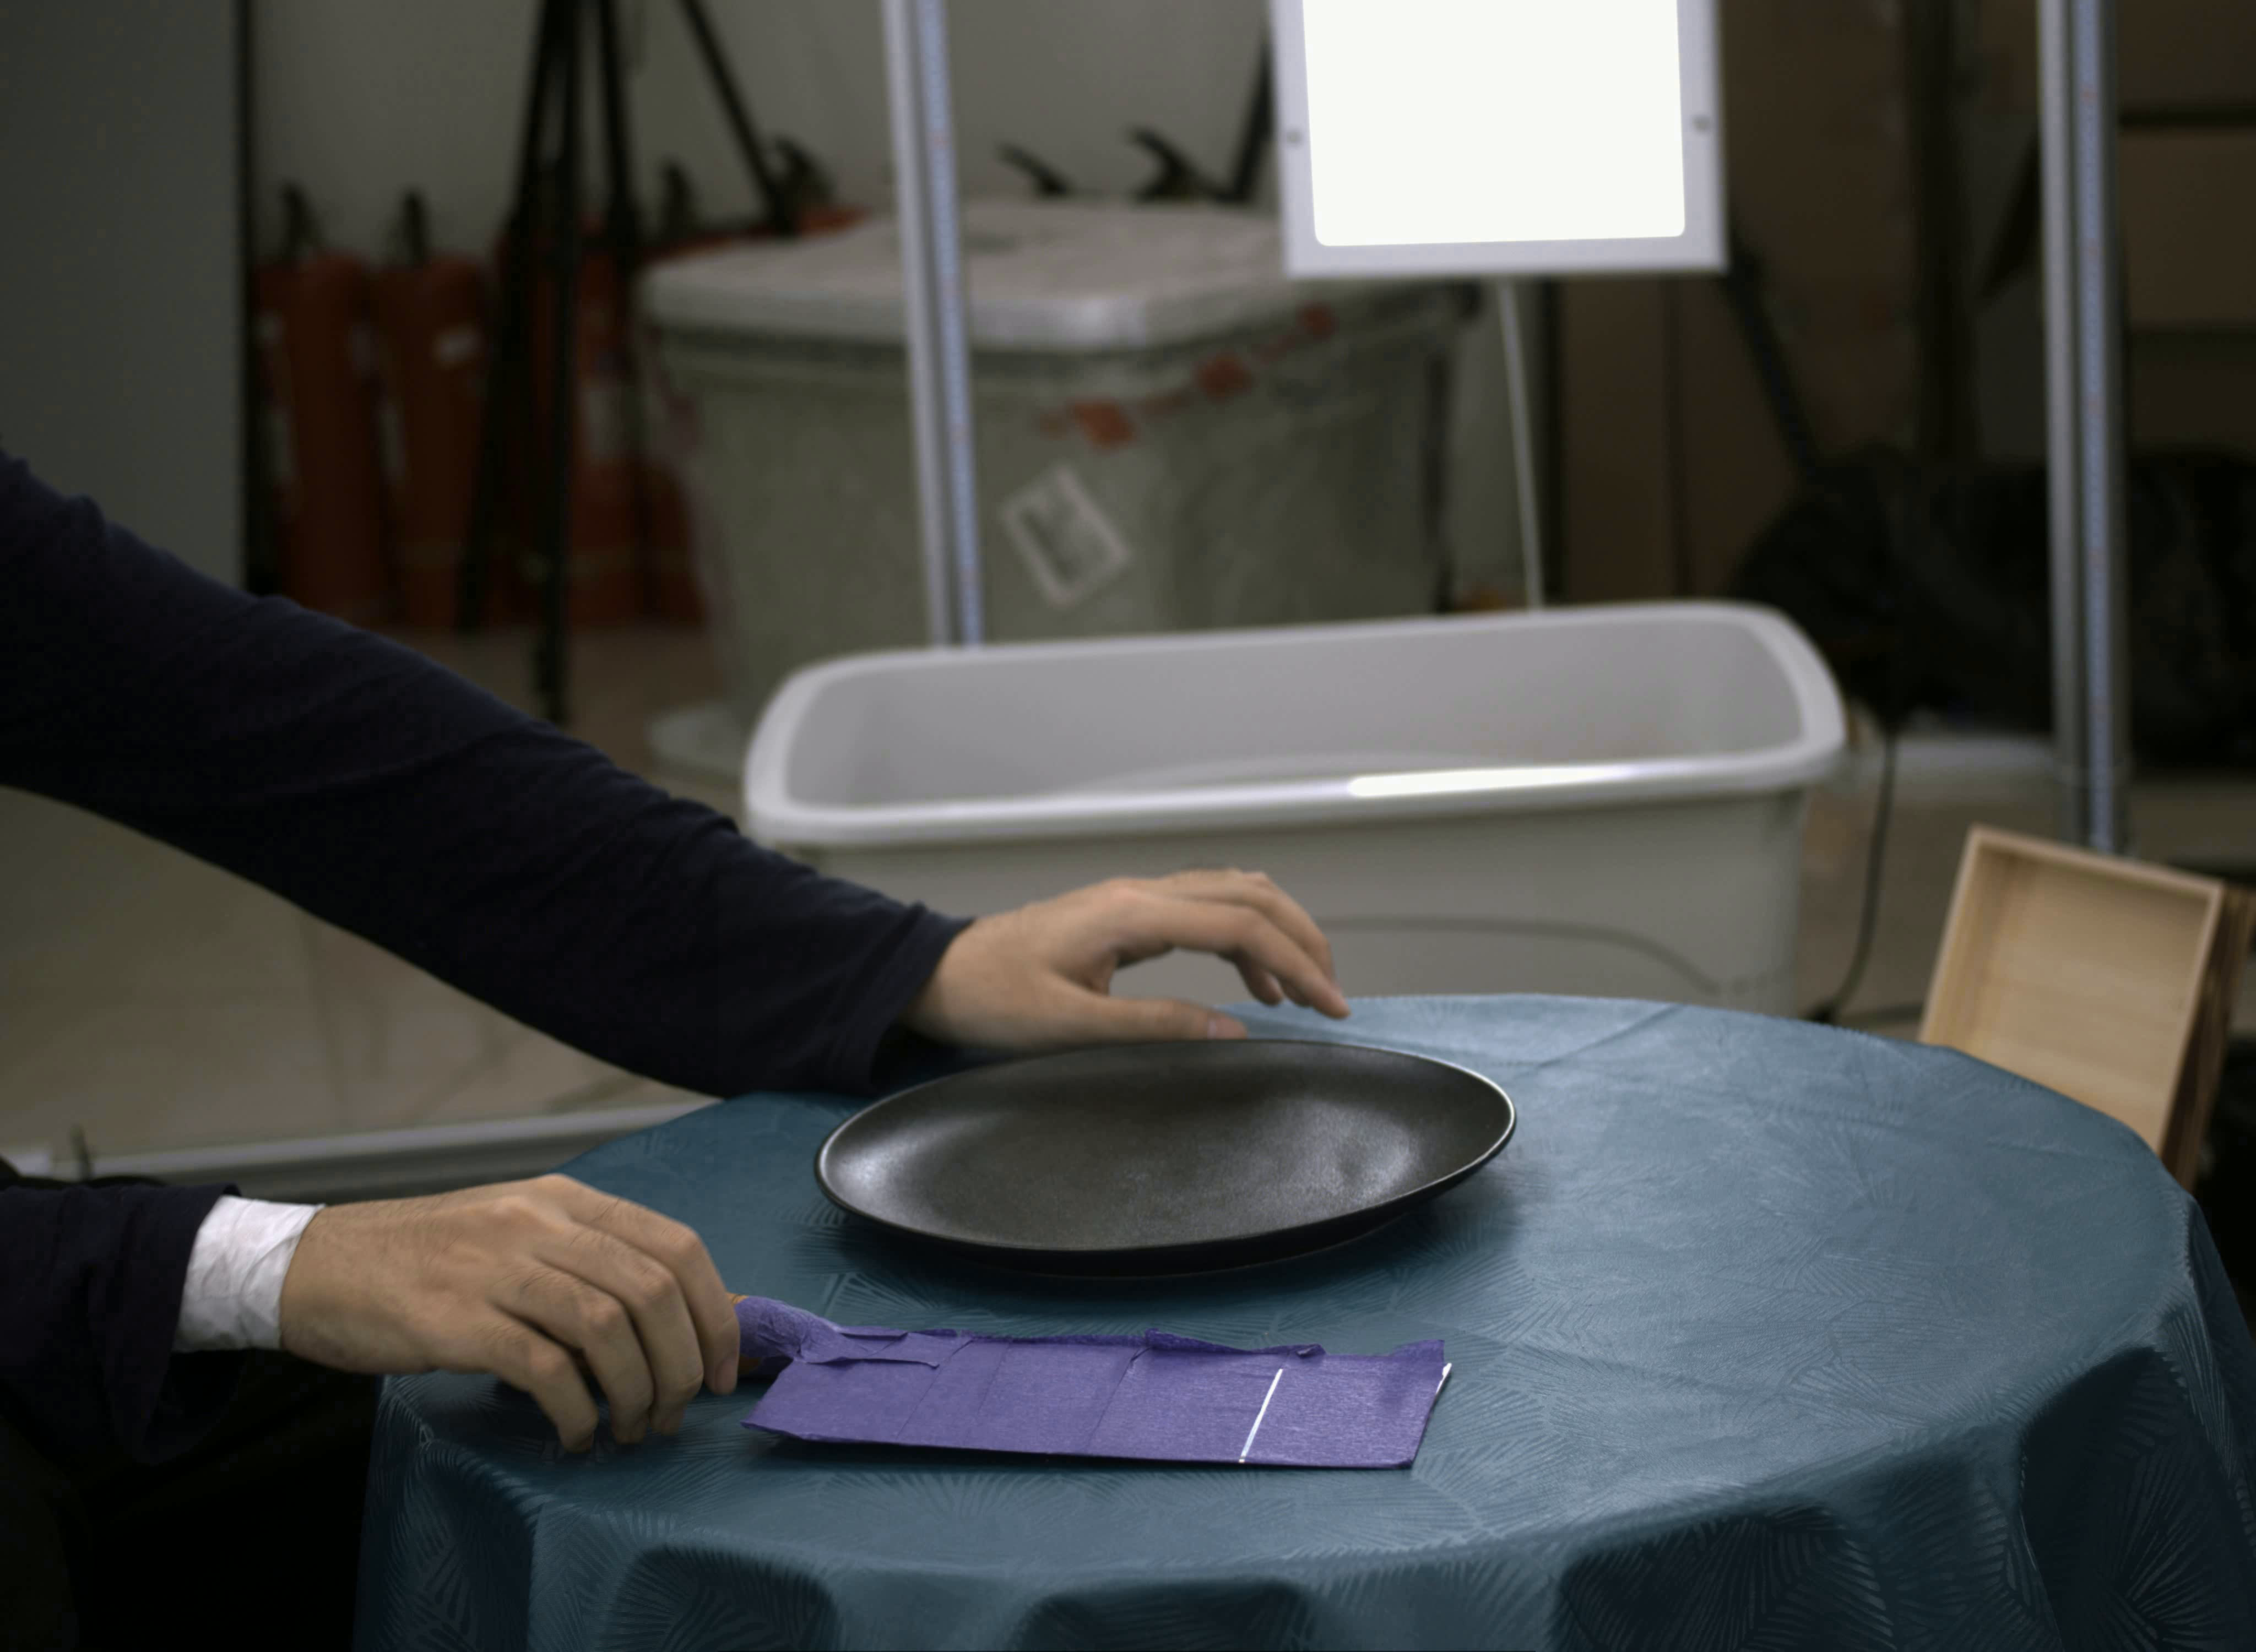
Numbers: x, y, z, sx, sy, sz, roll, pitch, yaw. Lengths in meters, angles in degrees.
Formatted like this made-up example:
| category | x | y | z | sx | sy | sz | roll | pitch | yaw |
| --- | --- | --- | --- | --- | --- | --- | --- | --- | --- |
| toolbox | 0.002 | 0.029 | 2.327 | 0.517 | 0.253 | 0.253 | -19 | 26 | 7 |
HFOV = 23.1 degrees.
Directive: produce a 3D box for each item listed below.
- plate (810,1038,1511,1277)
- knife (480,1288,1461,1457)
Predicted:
| category | x | y | z | sx | sy | sz | roll | pitch | yaw |
| --- | --- | --- | --- | --- | --- | --- | --- | --- | --- |
| plate | 0.012 | 0.116 | 1.894 | 0.244 | 0.023 | 0.244 | -5 | 14 | 0 |
| knife | -0.058 | 0.169 | 1.697 | 0.318 | 0.032 | 0.102 | -1 | 14 | 15 |
